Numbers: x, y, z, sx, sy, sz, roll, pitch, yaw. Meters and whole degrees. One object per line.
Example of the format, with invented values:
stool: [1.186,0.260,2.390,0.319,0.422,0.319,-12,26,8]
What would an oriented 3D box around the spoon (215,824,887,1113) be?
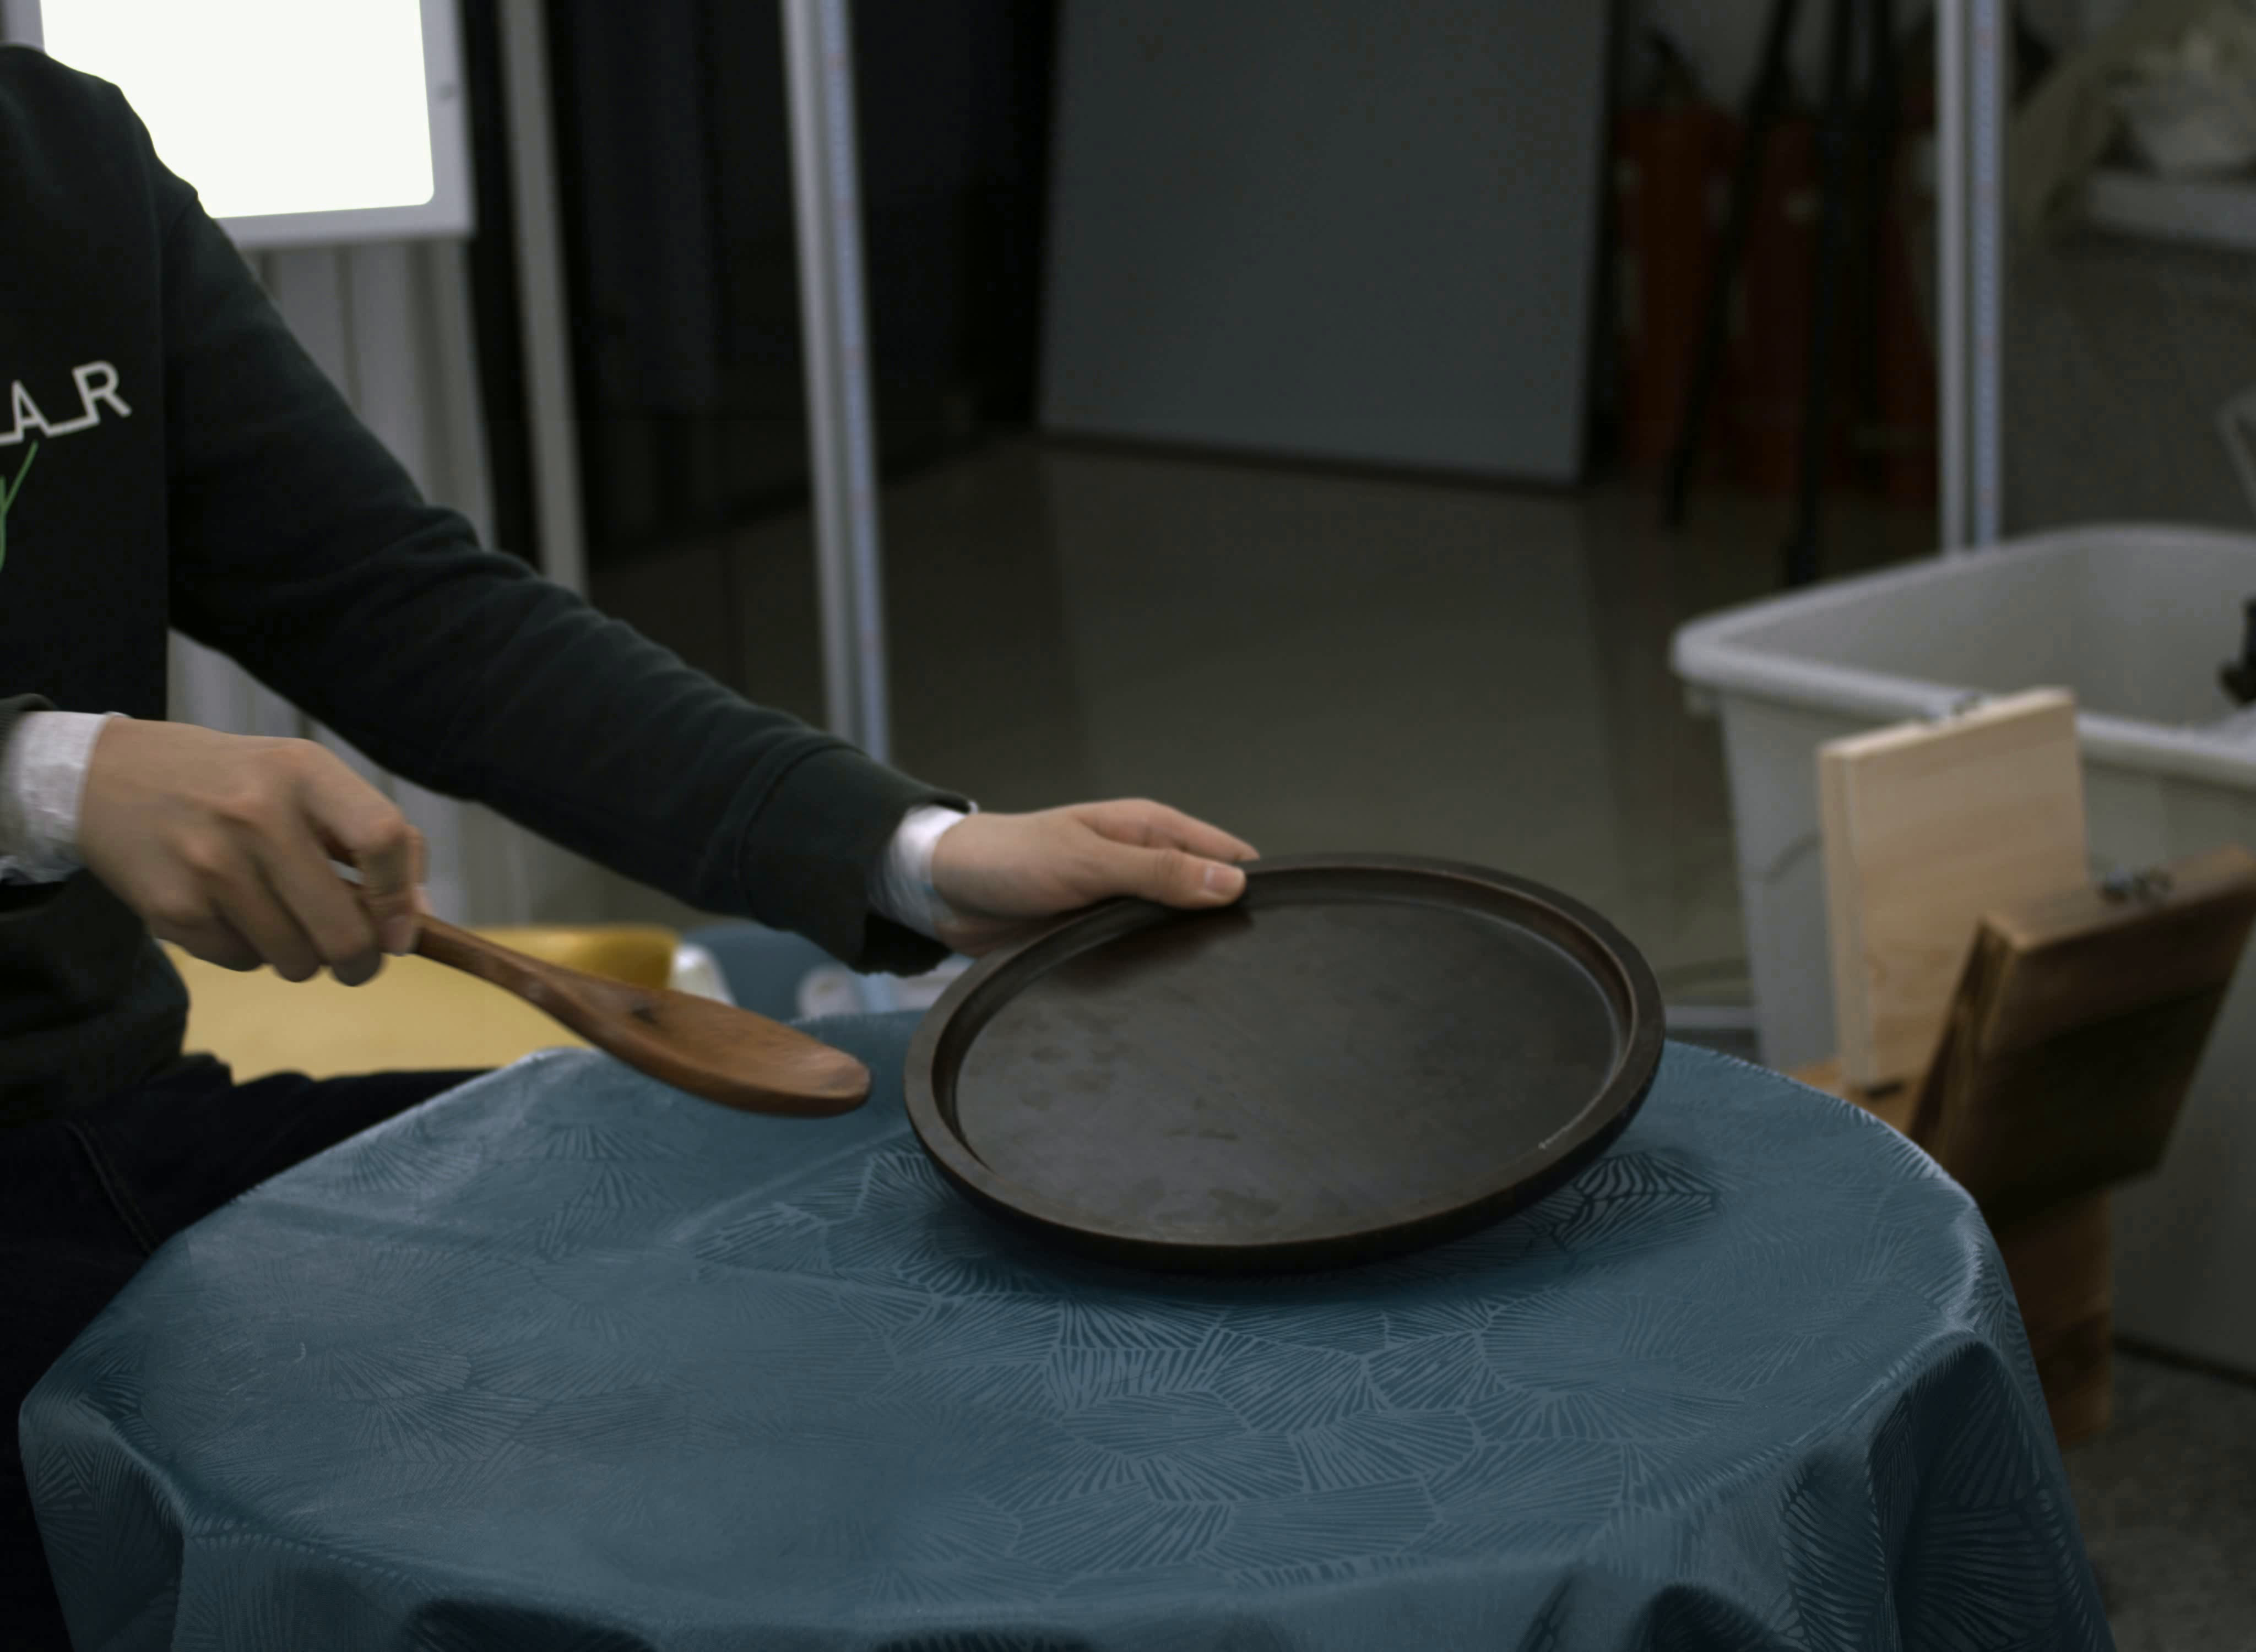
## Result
spoon: [-0.169,0.043,1.567,0.215,0.017,0.075,21,14,15]

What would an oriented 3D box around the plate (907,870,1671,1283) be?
plate: [0.052,0.079,1.762,0.252,0.029,0.256,-6,27,2]
